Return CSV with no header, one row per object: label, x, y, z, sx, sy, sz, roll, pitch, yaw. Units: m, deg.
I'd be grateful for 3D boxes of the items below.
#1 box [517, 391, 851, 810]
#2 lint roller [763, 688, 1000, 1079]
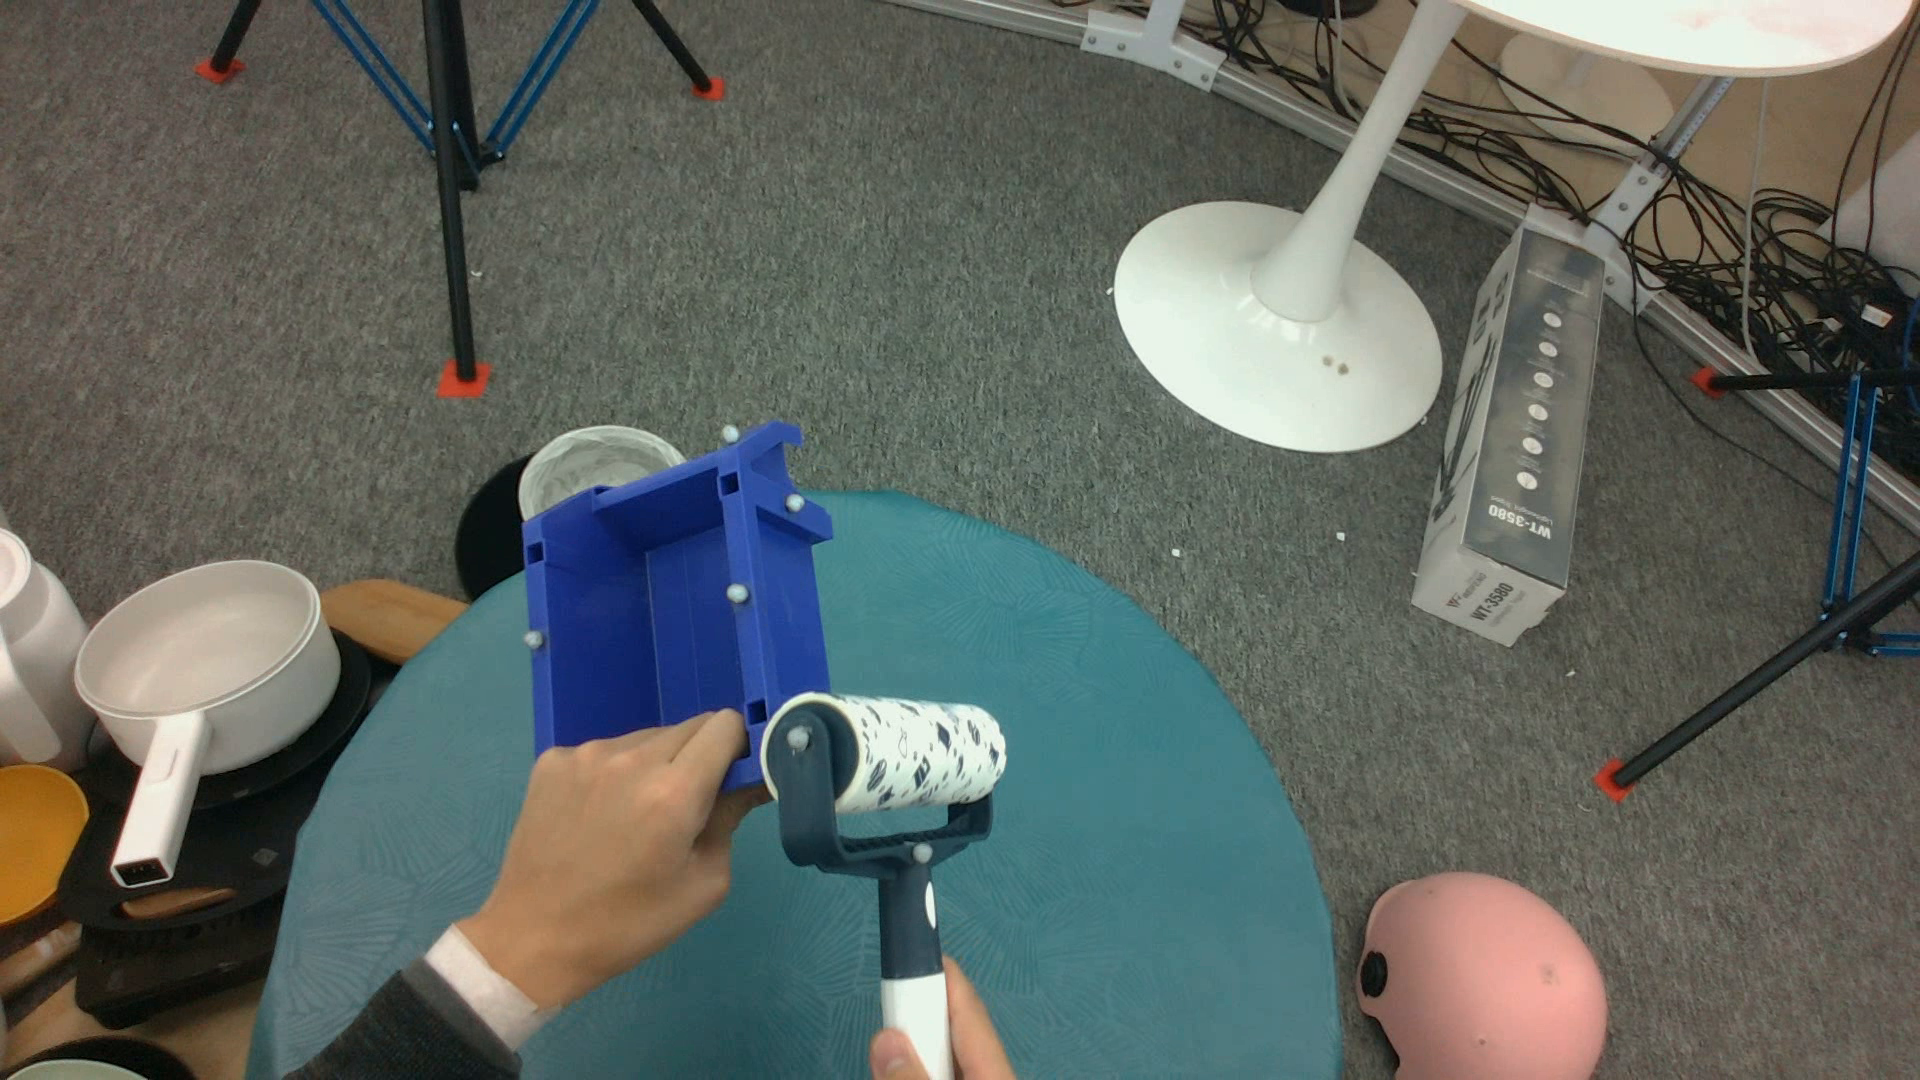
box,-0.131,0.026,0.641,0.124,0.082,0.180,-17,71,20
lint roller,-0.017,0.189,0.588,0.050,0.176,0.247,-12,78,18
